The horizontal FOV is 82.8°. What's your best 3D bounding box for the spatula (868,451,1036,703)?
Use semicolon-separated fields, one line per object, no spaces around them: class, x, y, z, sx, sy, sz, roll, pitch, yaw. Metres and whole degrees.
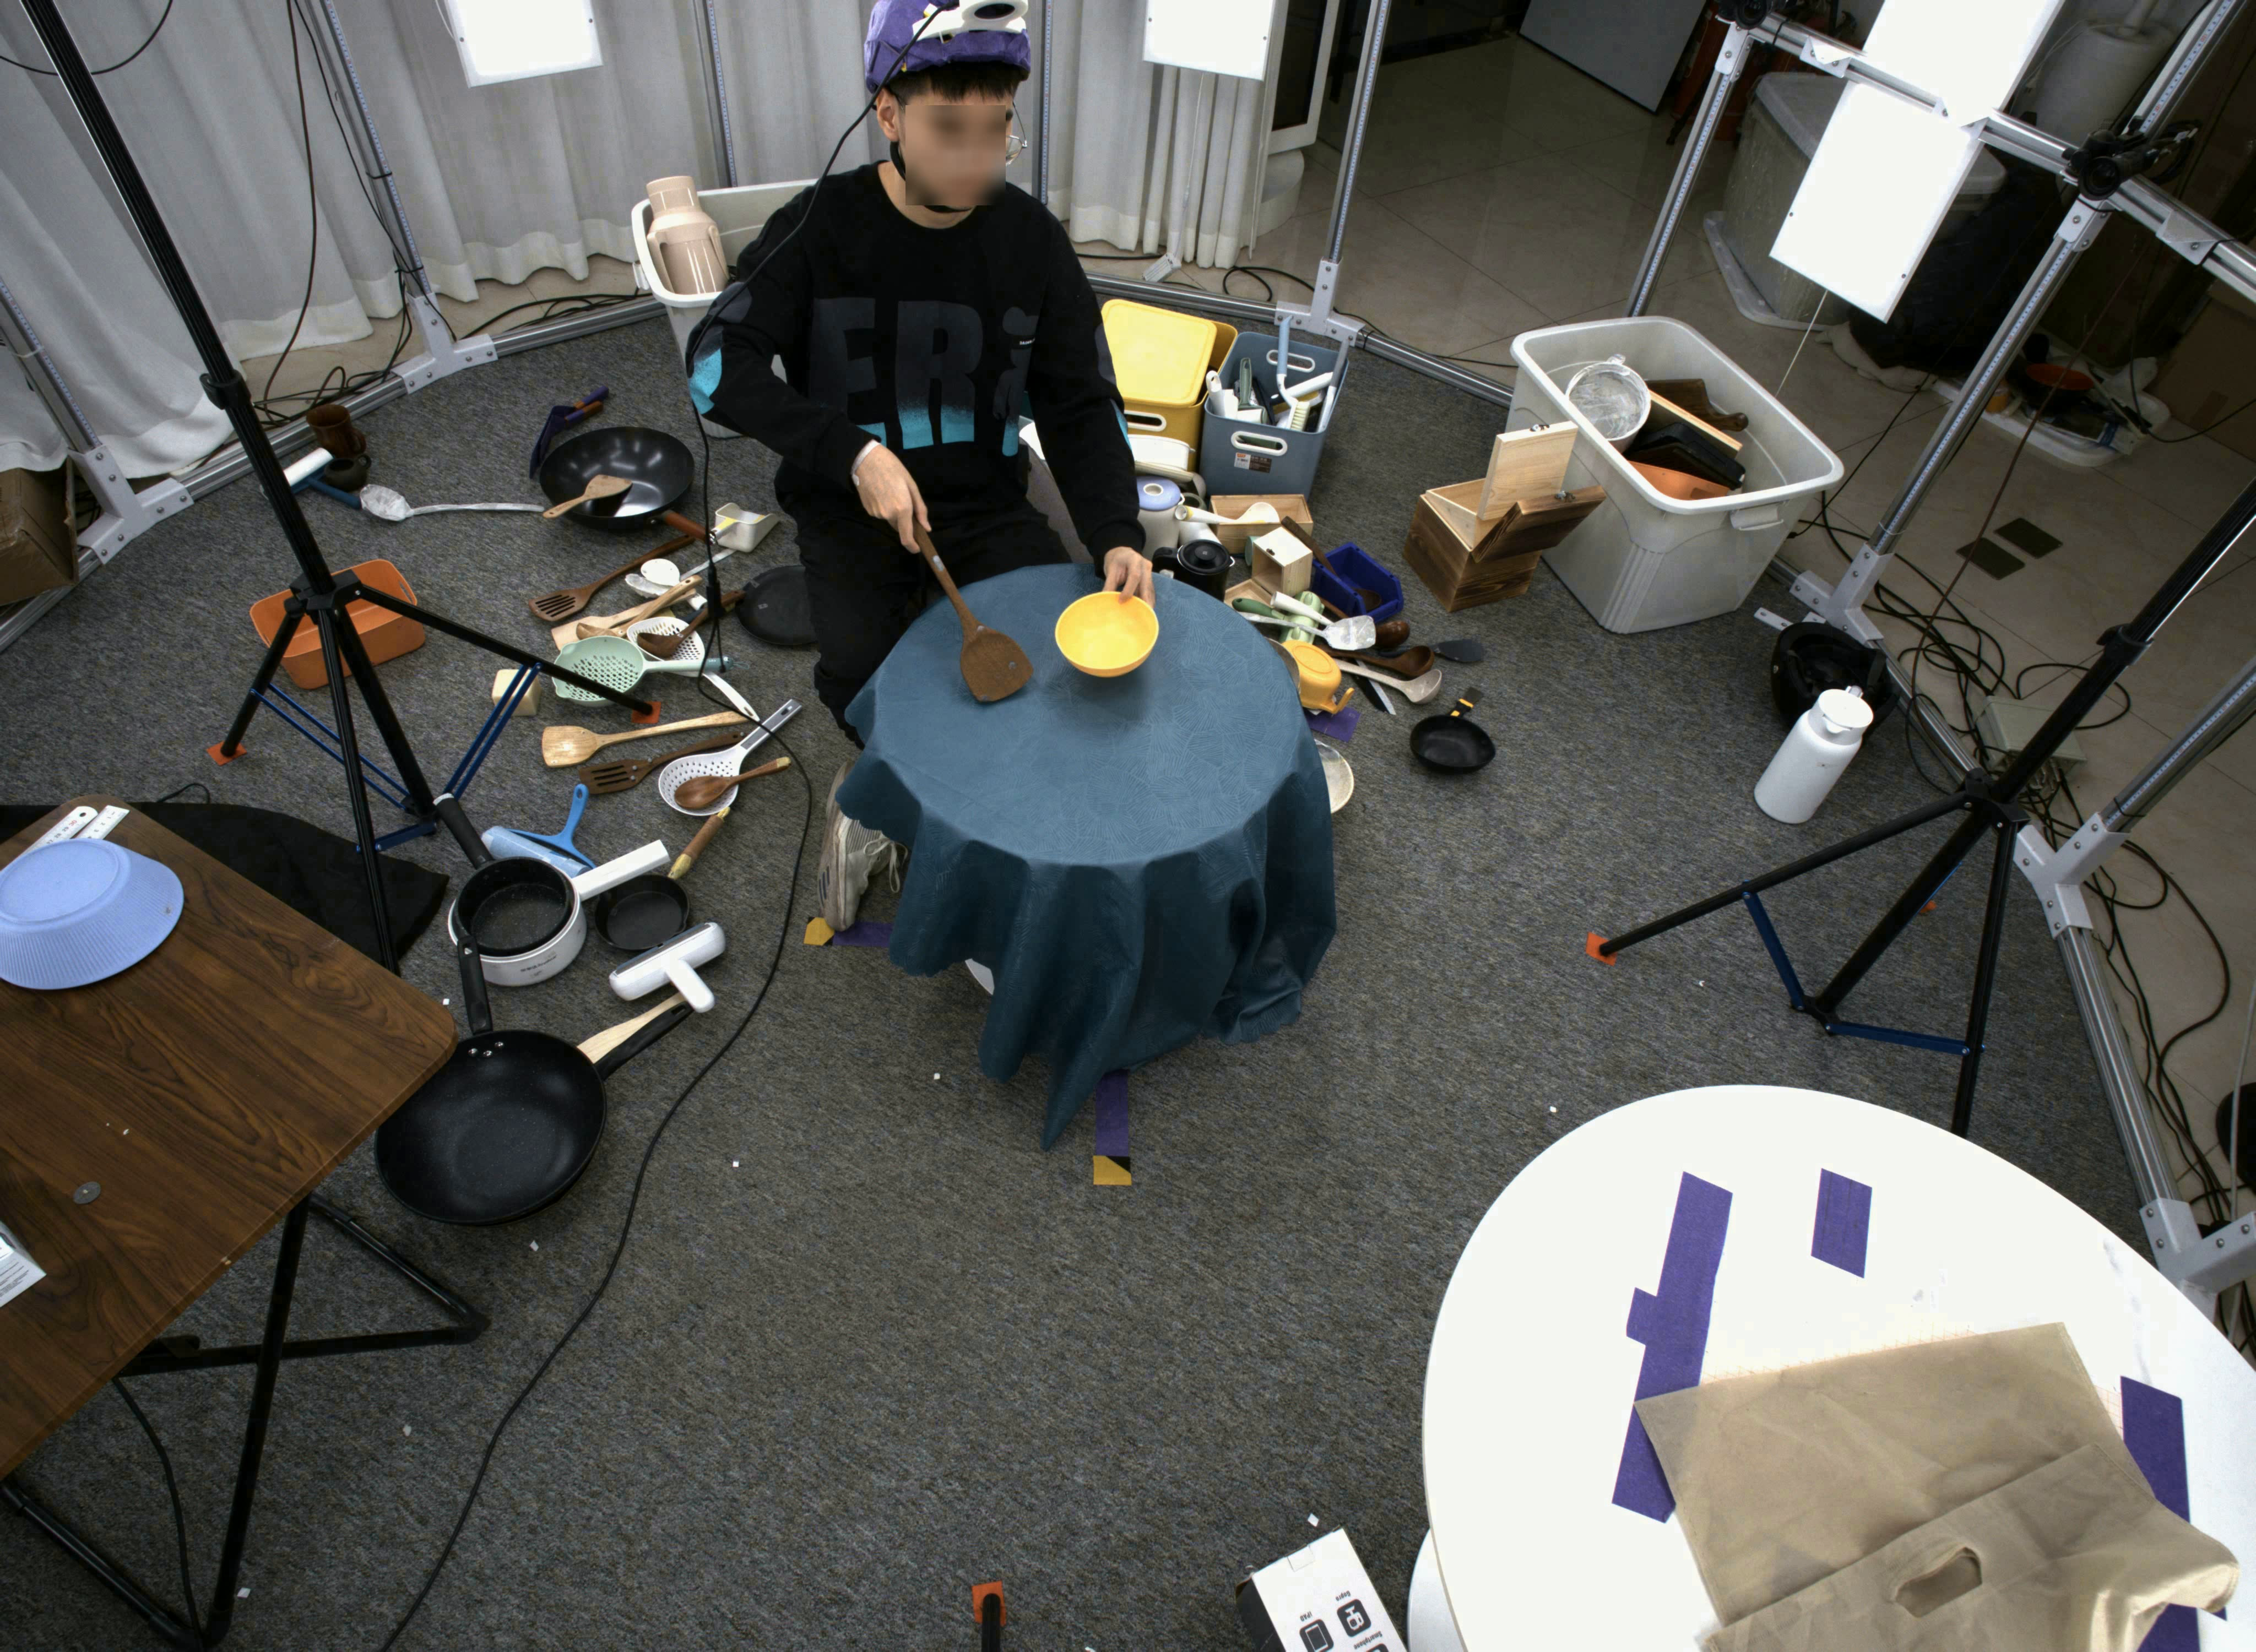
spatula;-0.257;-0.351;1.808;0.096;0.016;0.384;-31;94;-14

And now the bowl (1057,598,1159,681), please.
bowl;-0.028;-0.256;1.837;0.145;0.058;0.149;-2;52;2
